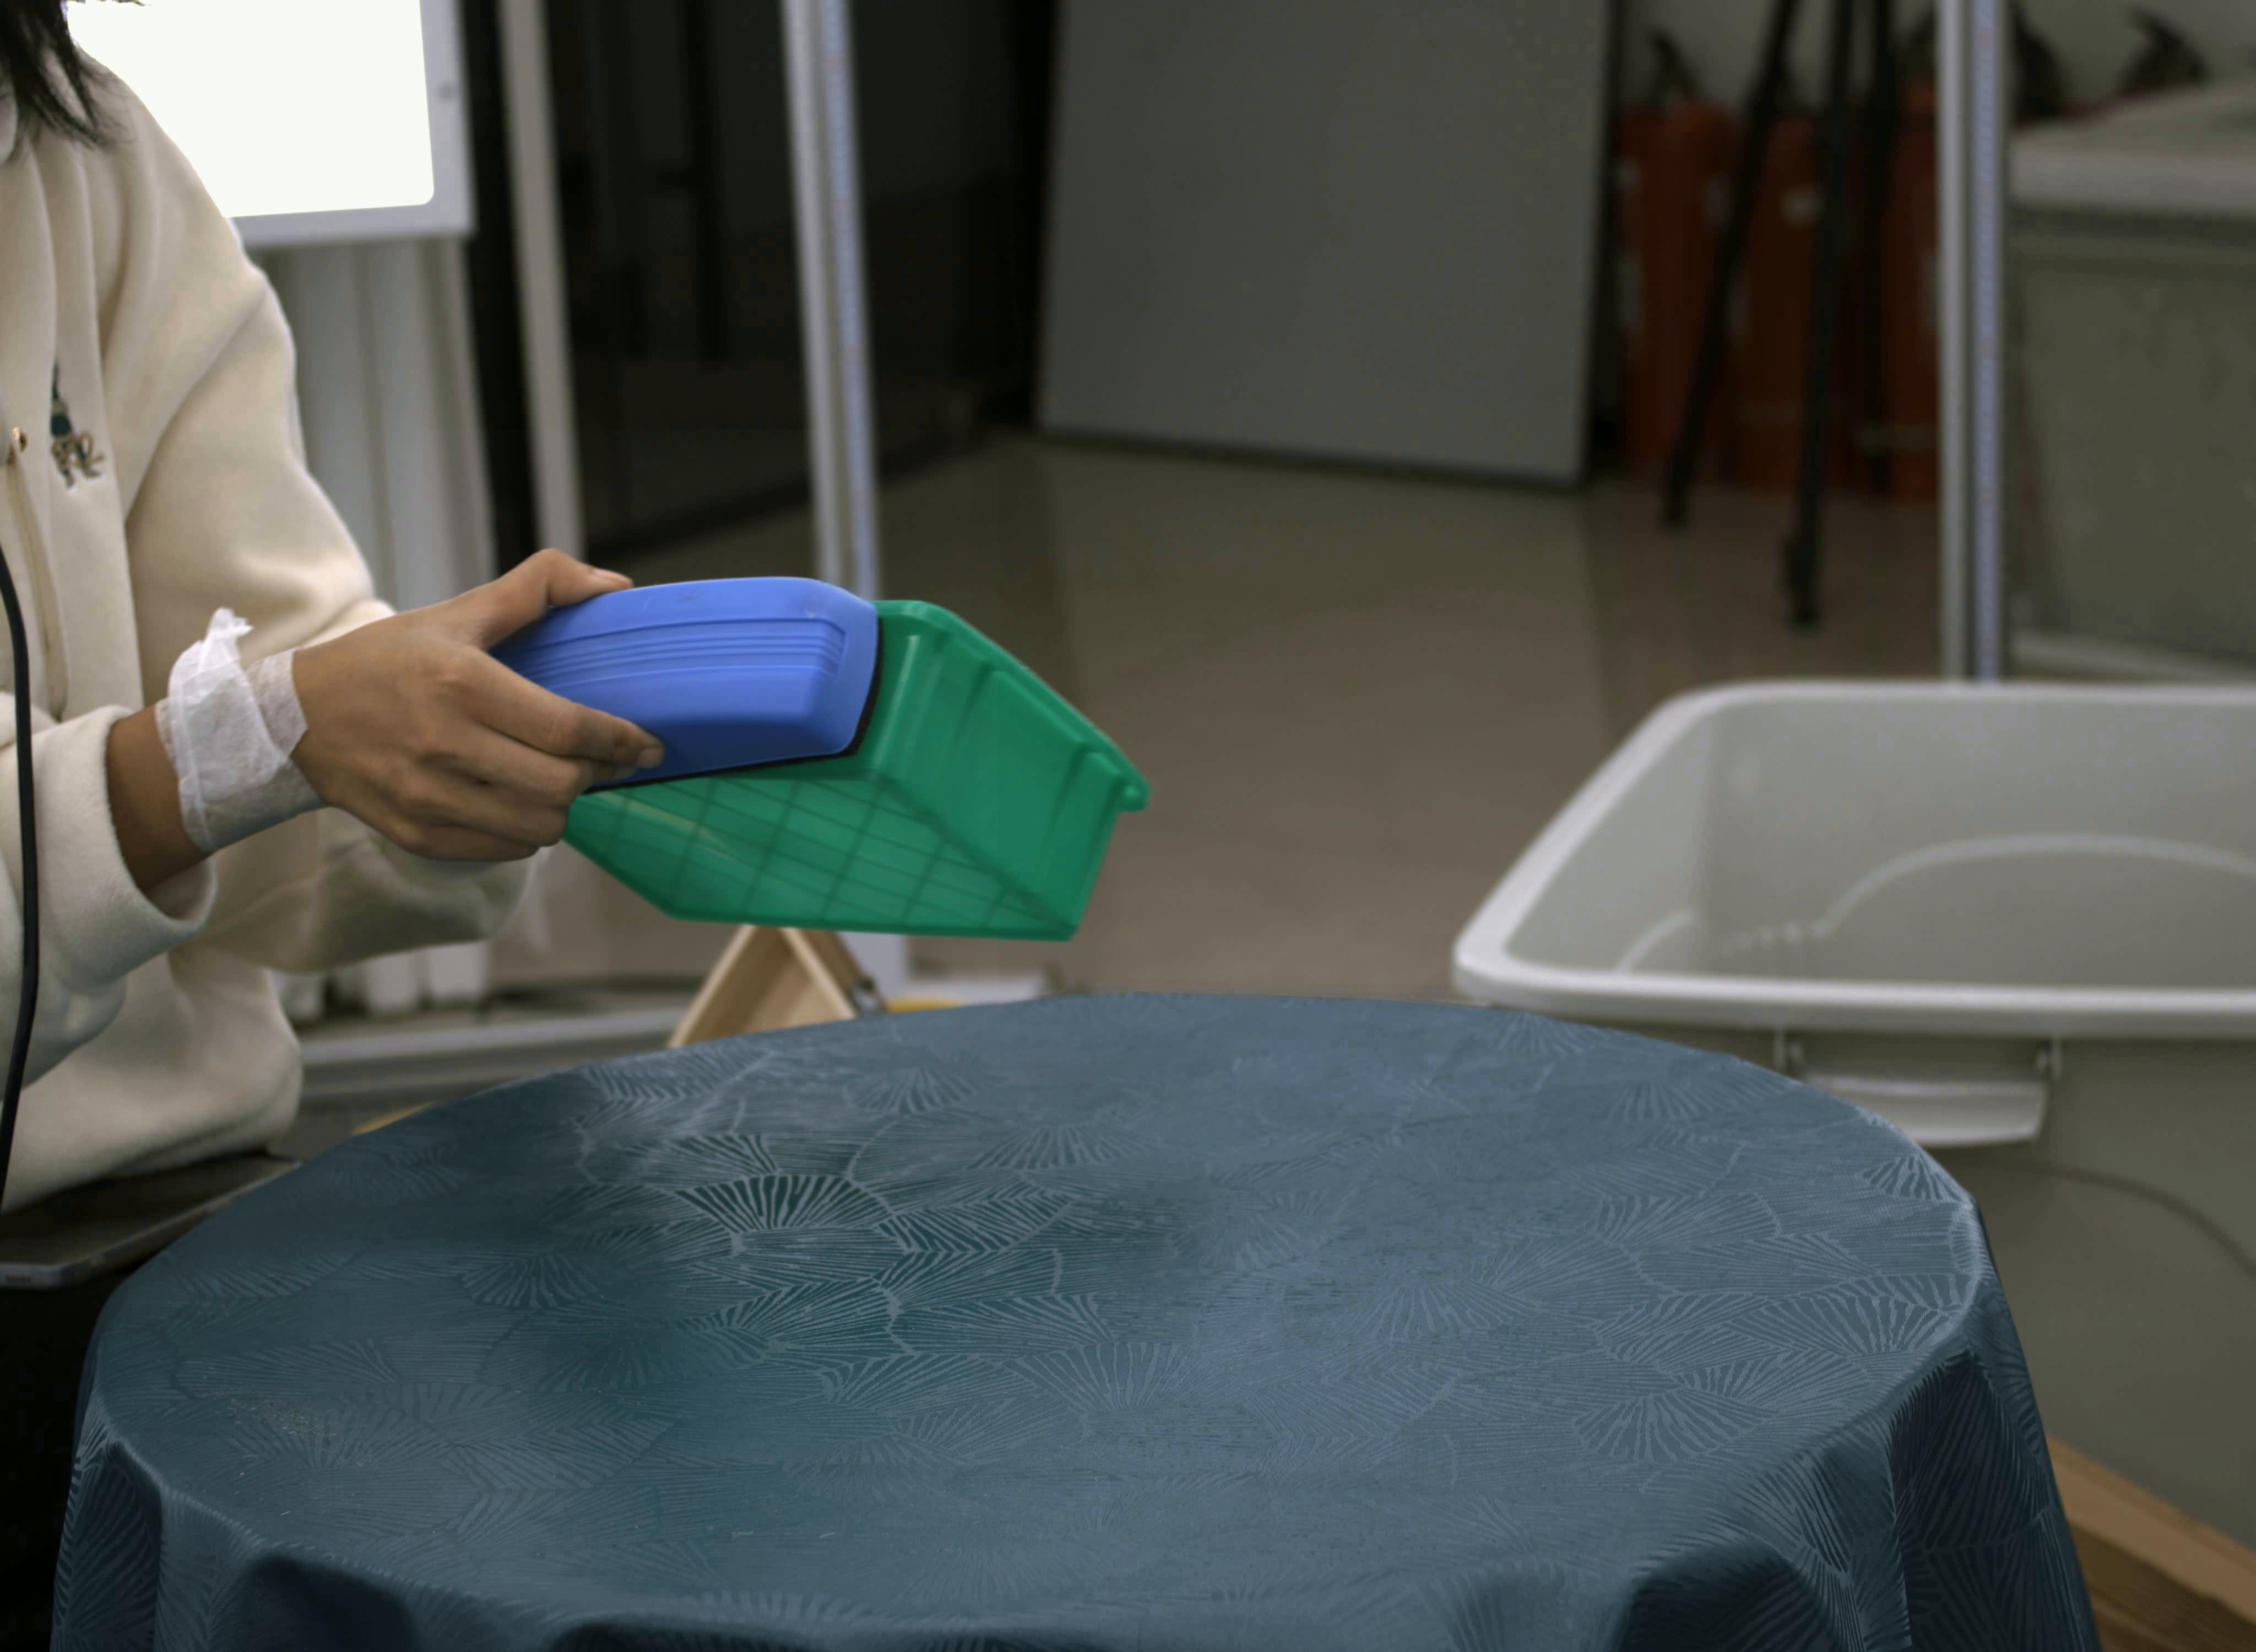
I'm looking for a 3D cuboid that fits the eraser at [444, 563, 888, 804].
[{"bbox_3d":[-0.152,-0.047,1.728,0.163,0.054,0.047,-9,-30,36],"label":"eraser"}]

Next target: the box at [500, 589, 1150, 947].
[{"bbox_3d":[-0.110,-0.017,1.800,0.212,0.066,0.136,4,-25,39],"label":"box"}]
